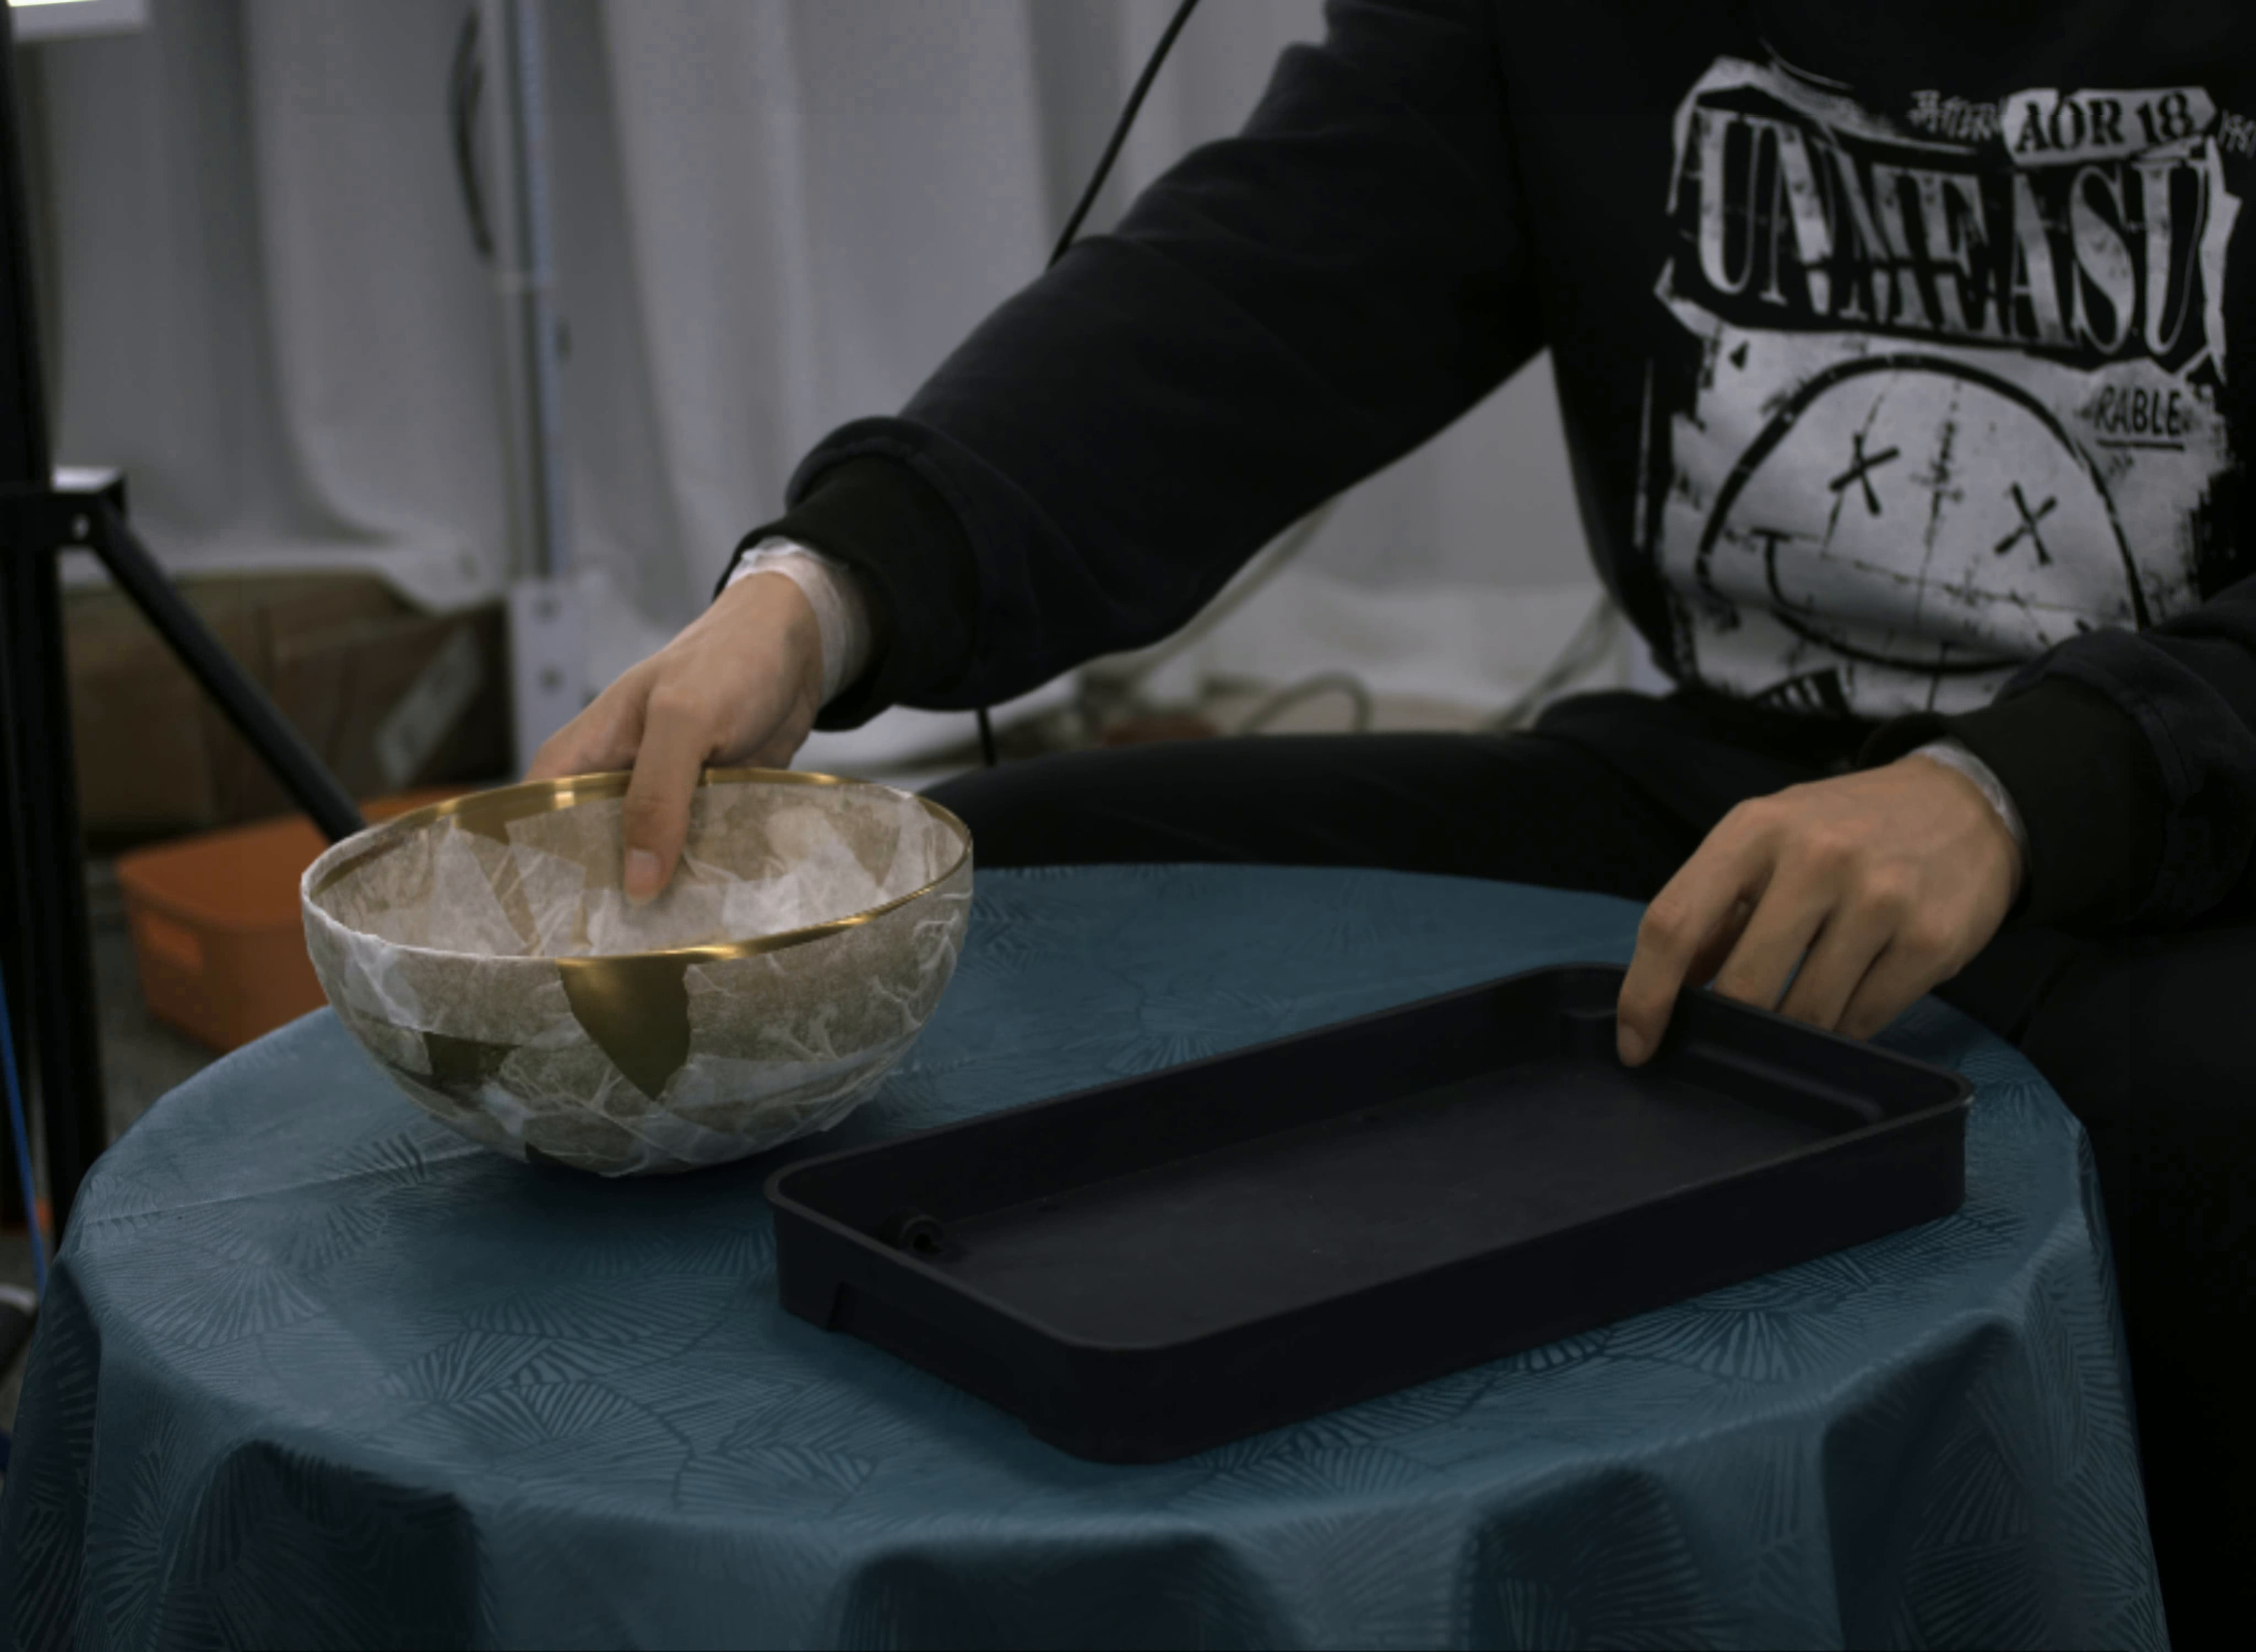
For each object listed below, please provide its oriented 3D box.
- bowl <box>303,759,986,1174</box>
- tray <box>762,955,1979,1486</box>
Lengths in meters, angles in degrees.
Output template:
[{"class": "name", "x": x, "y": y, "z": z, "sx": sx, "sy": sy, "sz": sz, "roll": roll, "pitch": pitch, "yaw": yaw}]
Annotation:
[{"class": "bowl", "x": -0.140, "y": 0.051, "z": 1.613, "sx": 0.213, "sy": 0.094, "sz": 0.216, "roll": -4, "pitch": 15, "yaw": 0}, {"class": "tray", "x": 0.071, "y": 0.105, "z": 1.498, "sx": 0.311, "sy": 0.037, "sz": 0.188, "roll": -14, "pitch": 20, "yaw": -30}]
